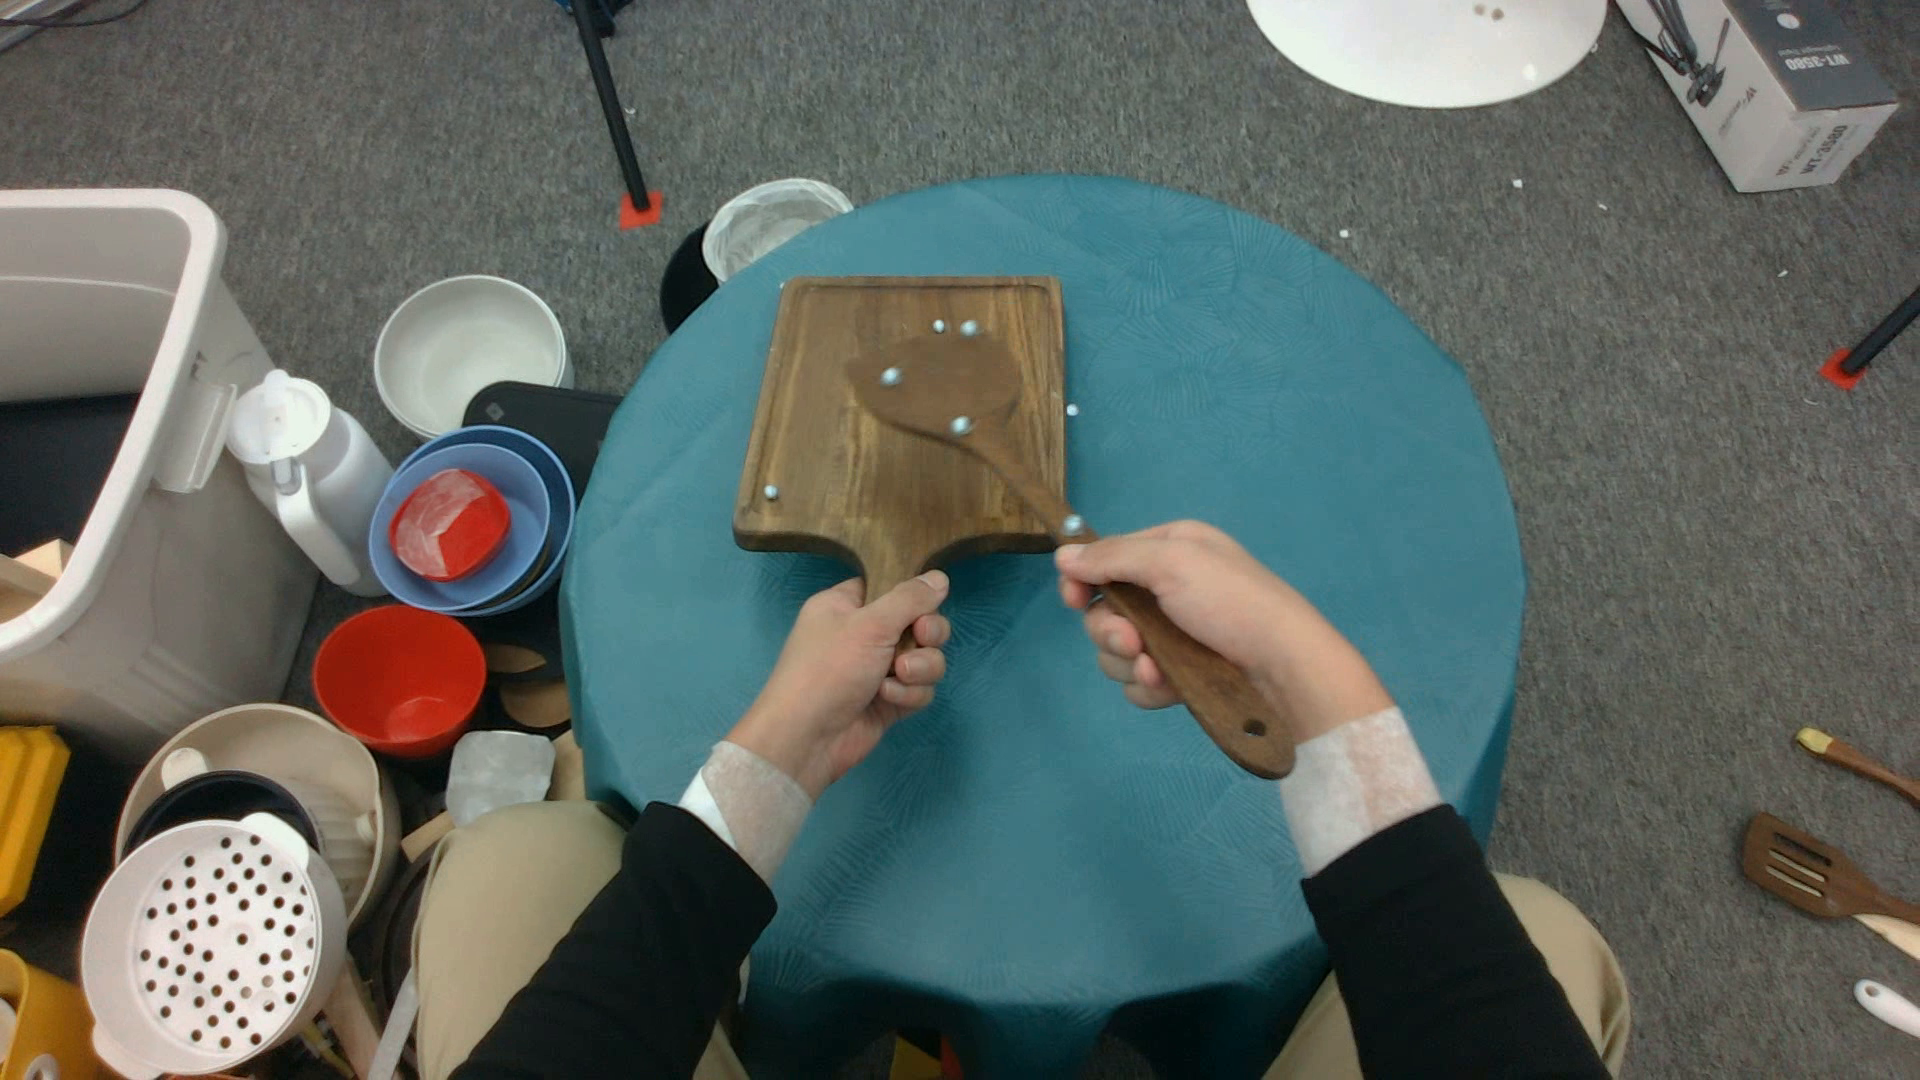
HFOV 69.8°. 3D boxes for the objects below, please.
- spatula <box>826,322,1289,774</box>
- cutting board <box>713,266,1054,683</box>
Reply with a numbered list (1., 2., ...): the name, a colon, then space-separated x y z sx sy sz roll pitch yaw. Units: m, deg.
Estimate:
1. spatula: 0.041 -0.017 0.676 0.096 0.016 0.386 -17 39 -20
2. cutting board: -0.044 -0.058 0.843 0.201 0.023 0.354 0 46 2
